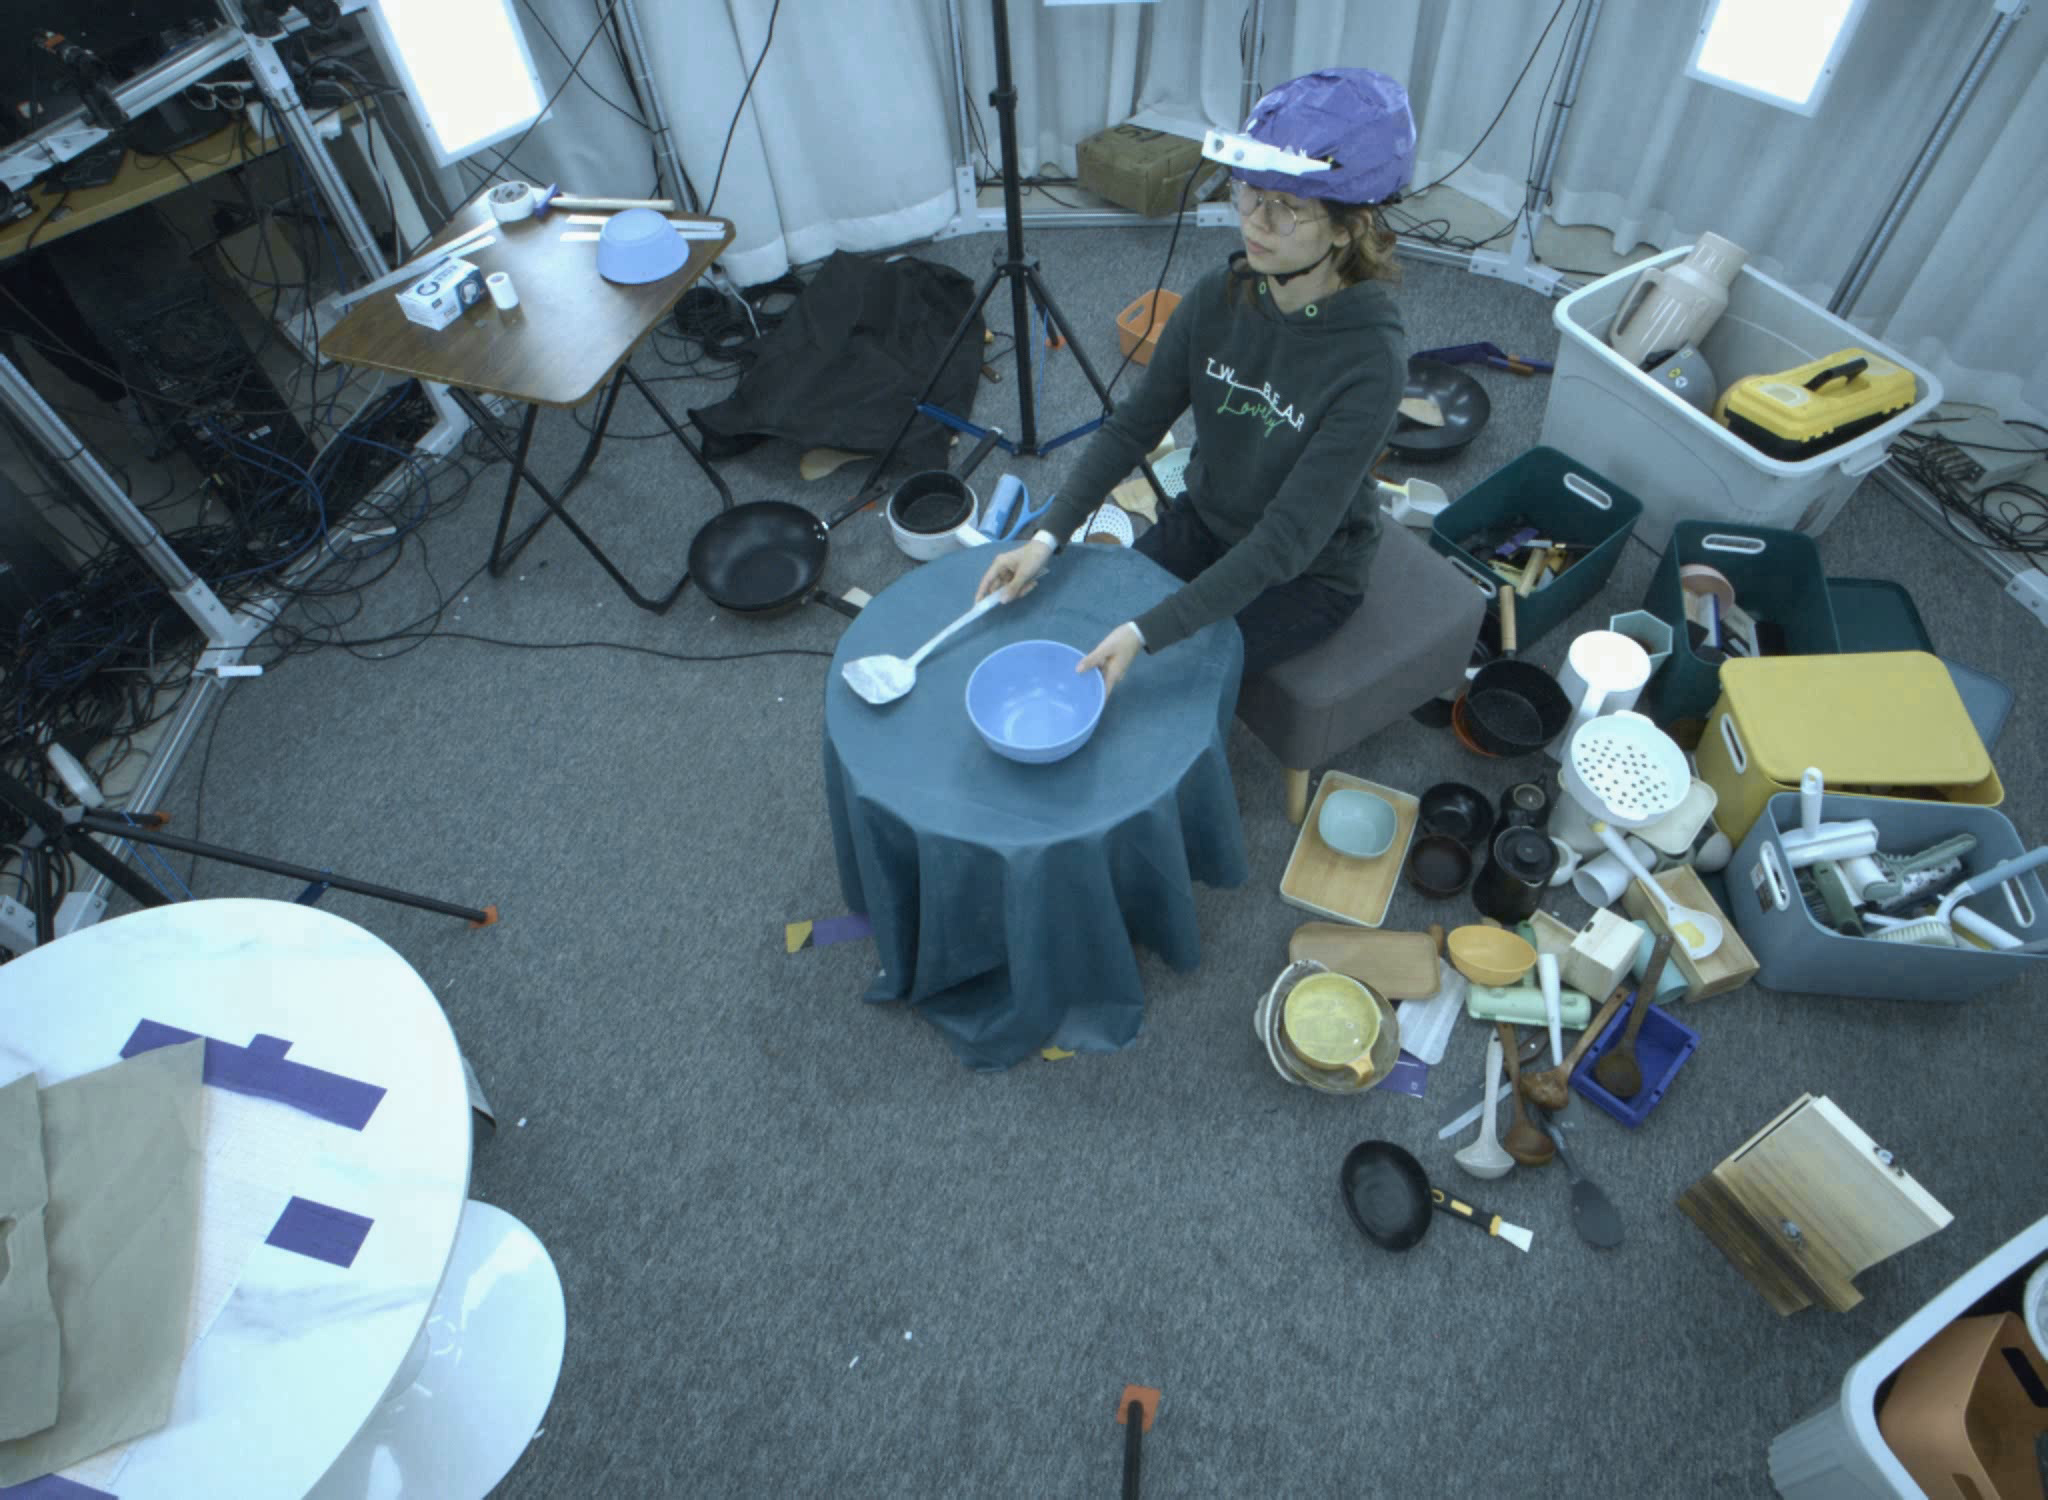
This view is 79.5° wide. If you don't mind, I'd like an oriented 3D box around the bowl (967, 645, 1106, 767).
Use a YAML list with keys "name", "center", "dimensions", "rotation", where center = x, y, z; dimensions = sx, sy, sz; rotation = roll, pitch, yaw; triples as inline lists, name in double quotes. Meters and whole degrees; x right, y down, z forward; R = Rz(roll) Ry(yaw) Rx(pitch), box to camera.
- name: "bowl"
  center: [0.021, -0.048, 1.773]
  dimensions: [0.196, 0.096, 0.194]
  rotation: [-1, 54, 3]

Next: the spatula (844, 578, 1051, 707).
- name: "spatula"
  center: [-0.110, -0.181, 1.891]
  dimensions: [0.367, 0.045, 0.097]
  rotation: [-37, 61, -14]
